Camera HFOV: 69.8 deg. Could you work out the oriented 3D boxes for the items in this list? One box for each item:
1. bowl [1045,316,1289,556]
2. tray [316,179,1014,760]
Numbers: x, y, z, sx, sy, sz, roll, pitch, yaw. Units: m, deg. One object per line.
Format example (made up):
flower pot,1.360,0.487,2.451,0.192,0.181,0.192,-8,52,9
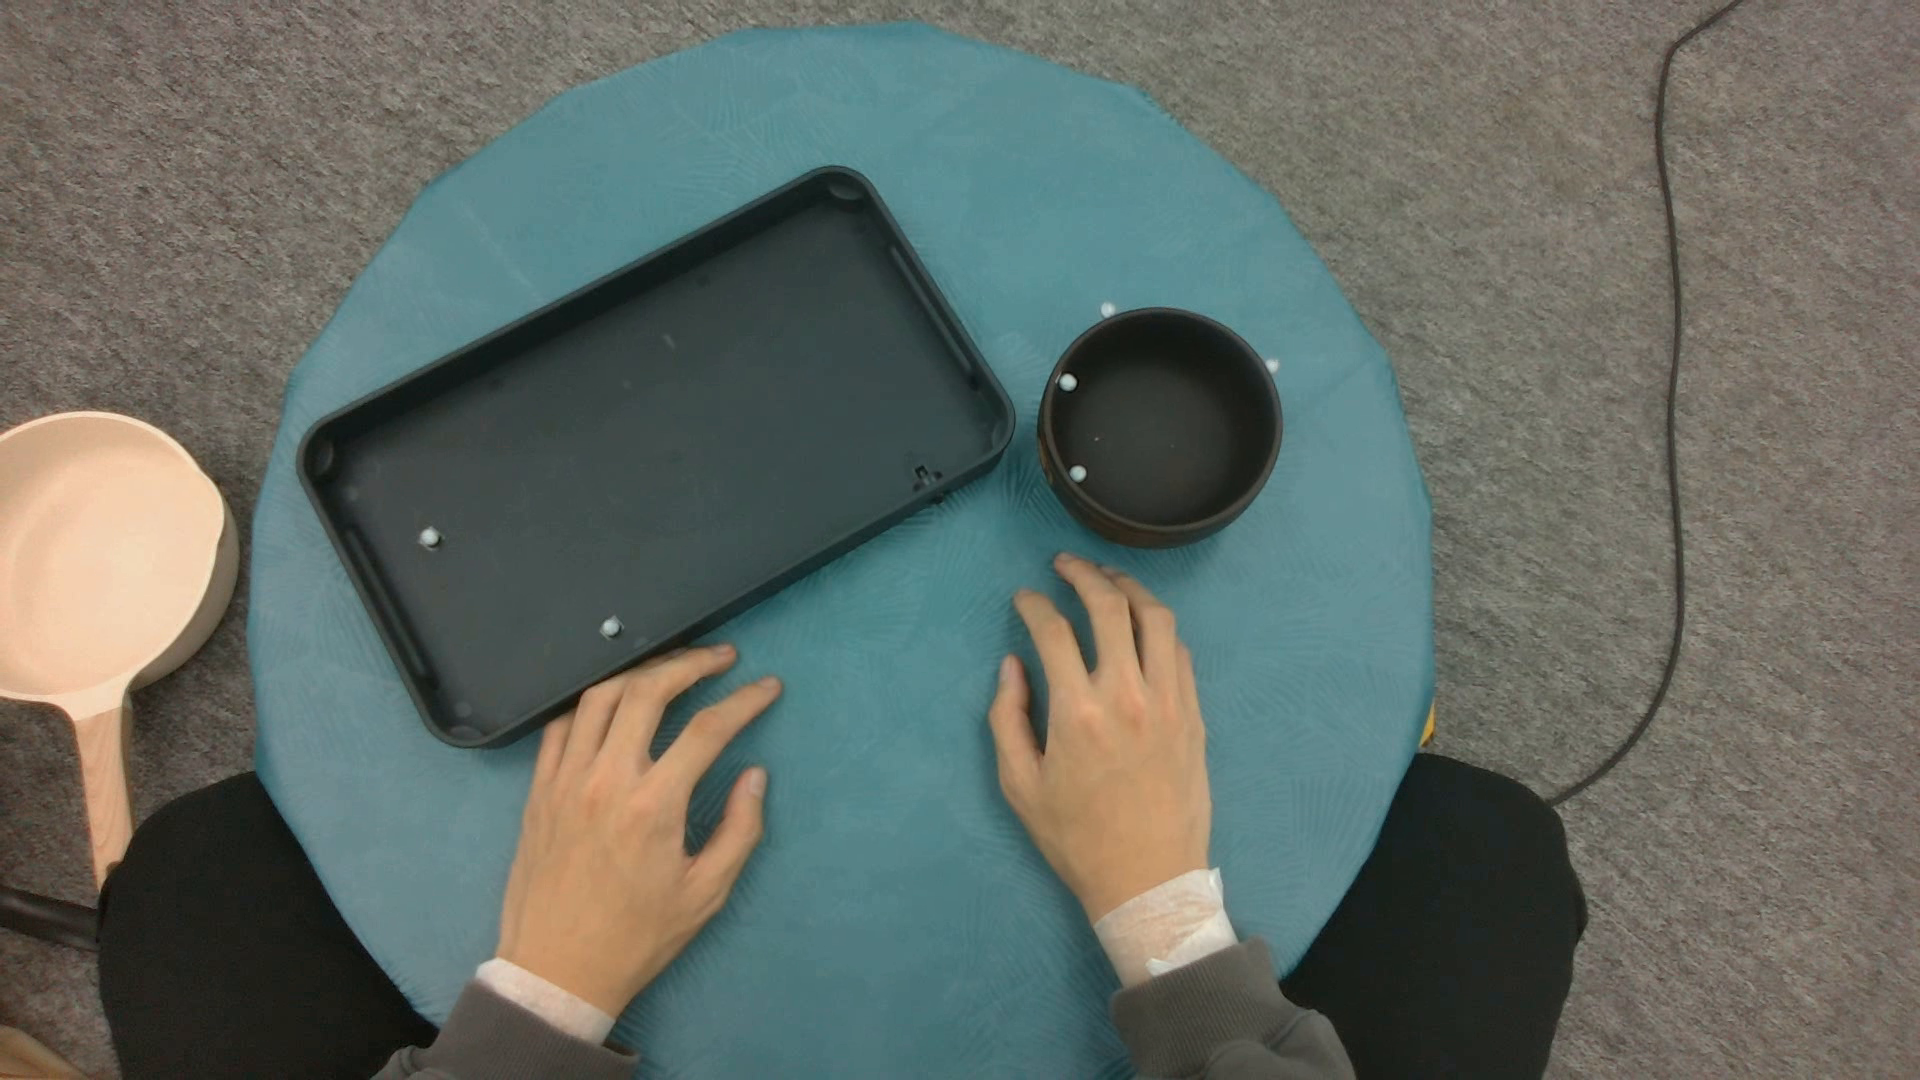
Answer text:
bowl,0.101,-0.048,0.698,0.118,0.069,0.118,0,76,-2
tray,-0.146,-0.041,0.708,0.318,0.037,0.184,-32,78,-10
